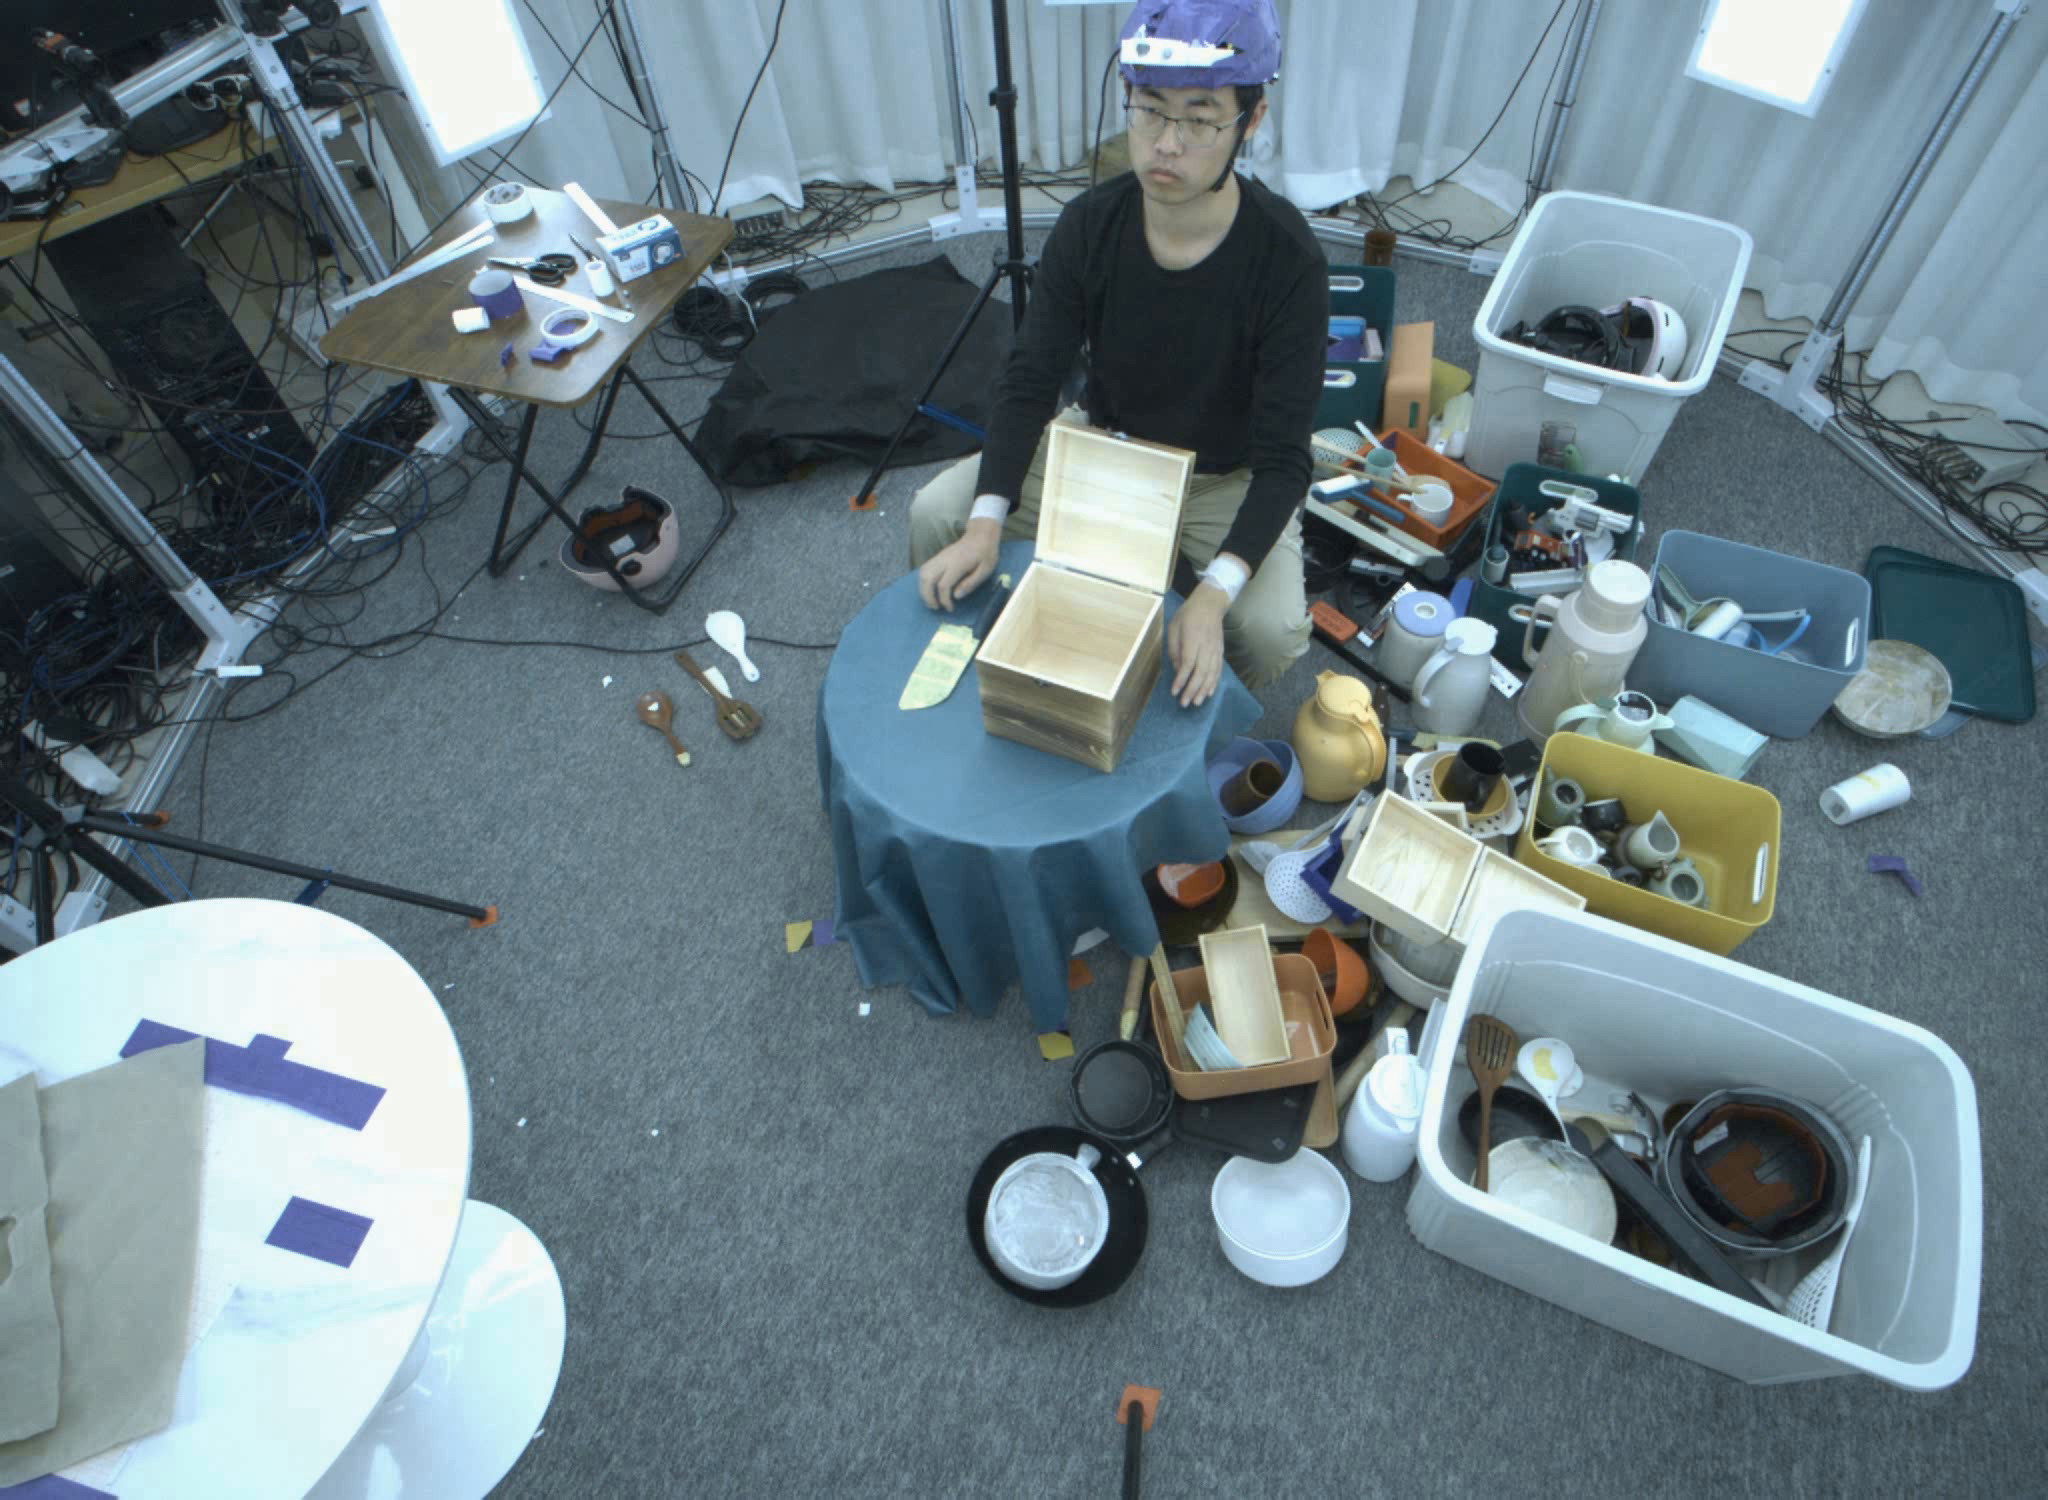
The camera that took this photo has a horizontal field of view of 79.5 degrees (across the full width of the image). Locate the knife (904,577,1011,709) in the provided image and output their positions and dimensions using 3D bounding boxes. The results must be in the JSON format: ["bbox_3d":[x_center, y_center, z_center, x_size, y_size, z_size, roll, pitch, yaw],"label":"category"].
[{"bbox_3d":[-0.102,-0.169,1.902,0.080,0.027,0.290,23,60,15],"label":"knife"}]

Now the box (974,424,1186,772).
[{"bbox_3d":[0.081,-0.216,1.716,0.206,0.380,0.322,17,57,17],"label":"box"}]
